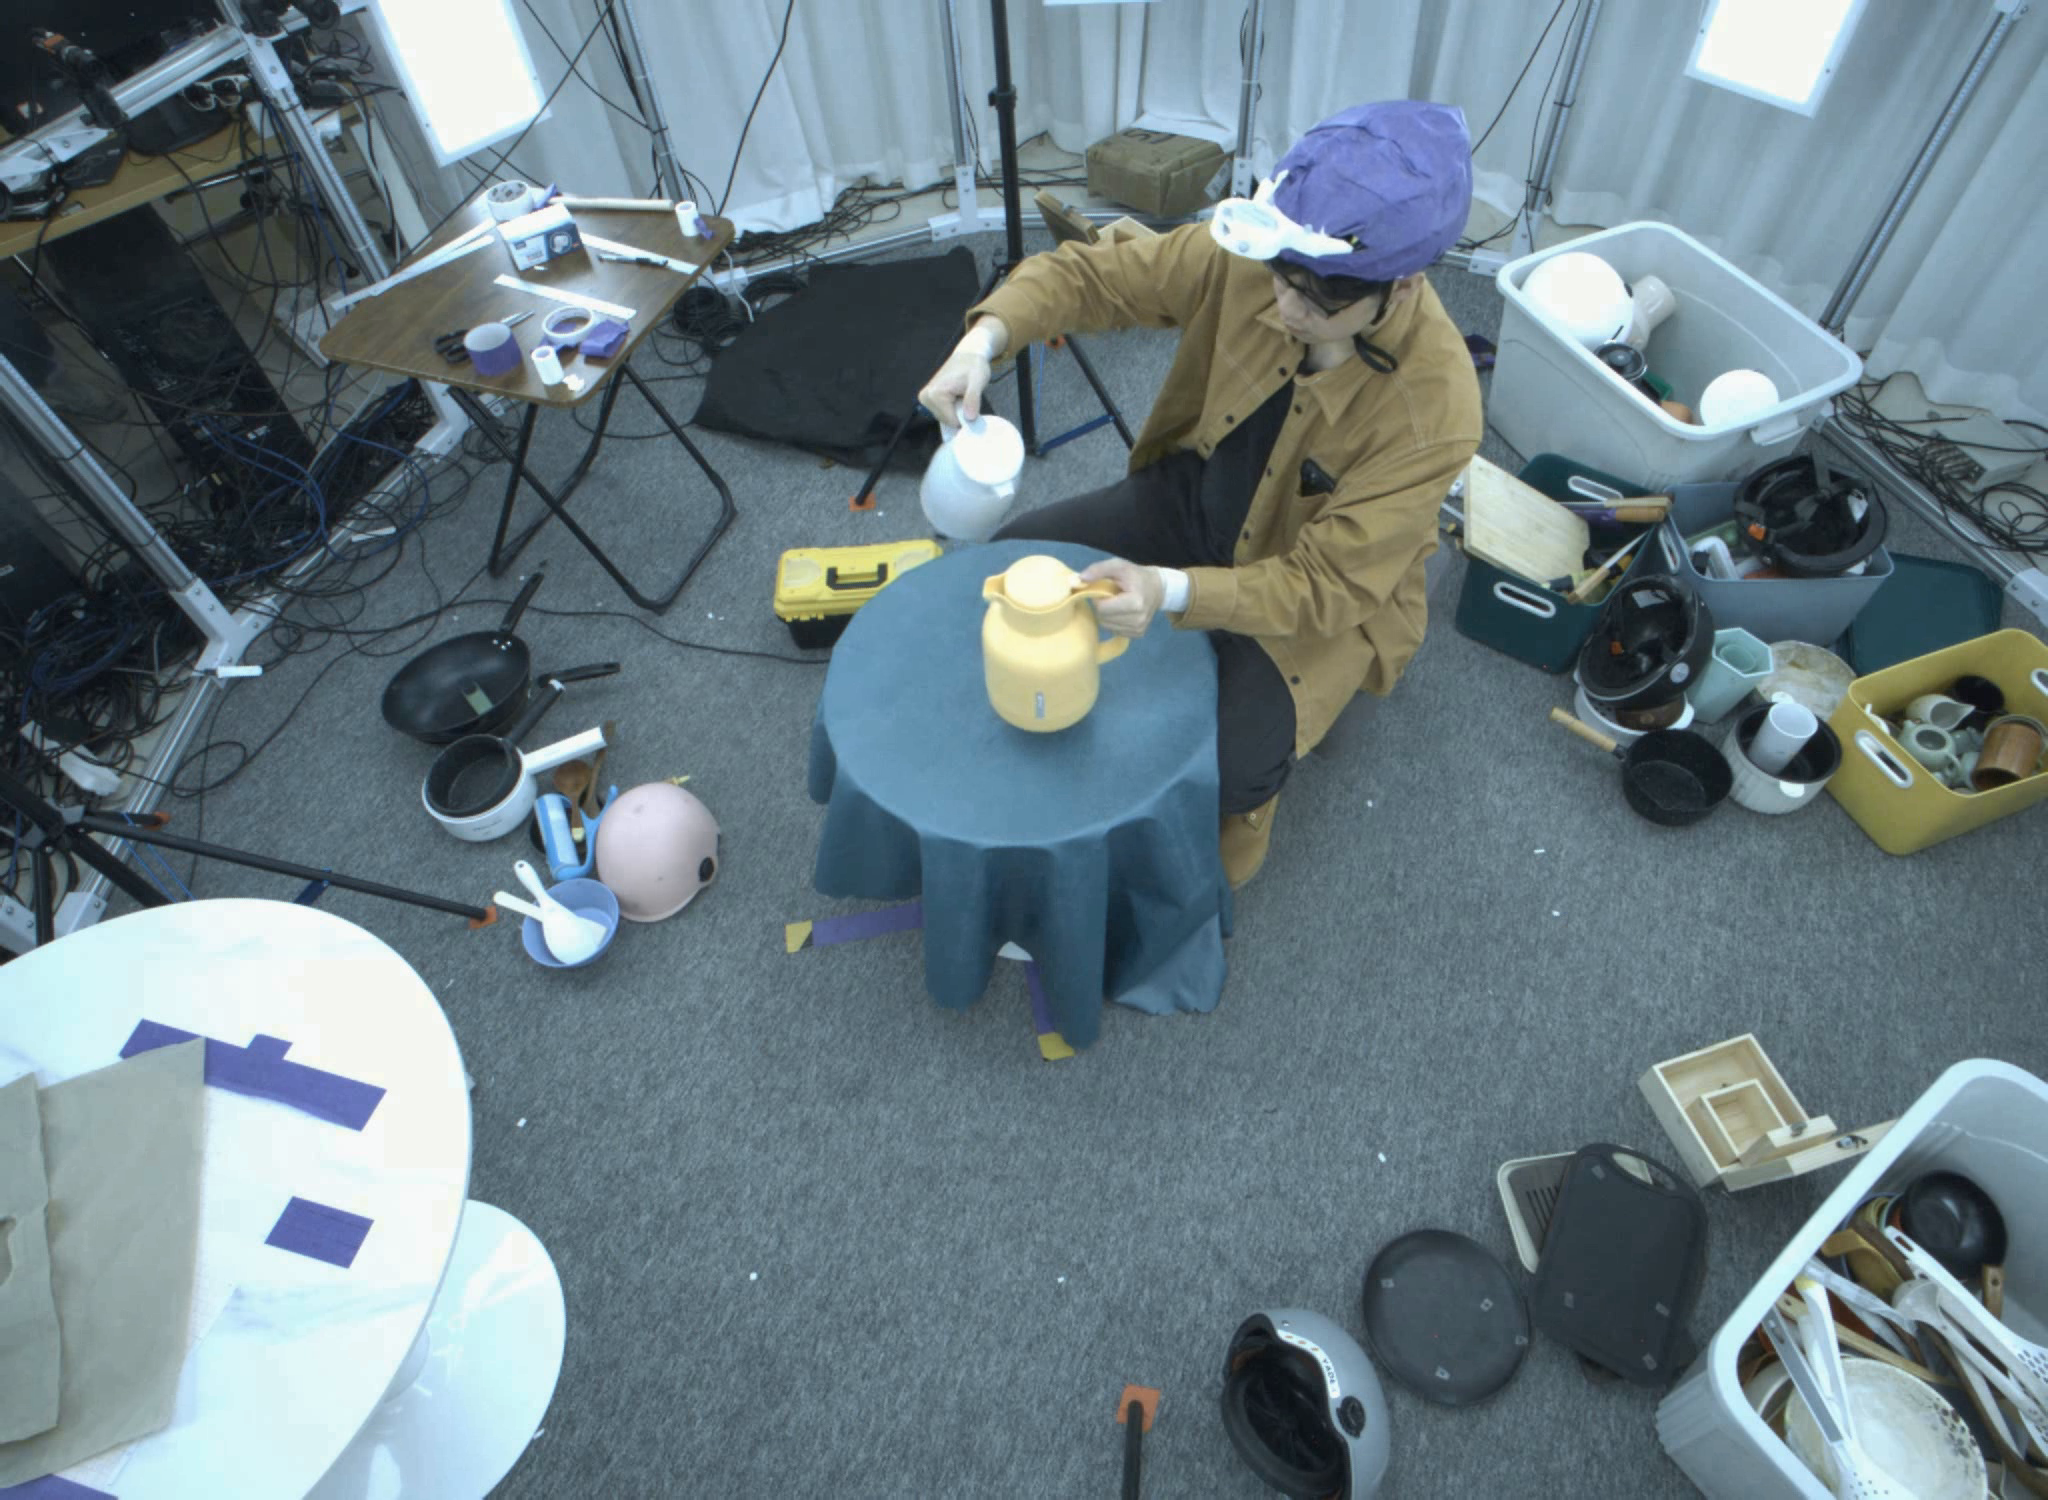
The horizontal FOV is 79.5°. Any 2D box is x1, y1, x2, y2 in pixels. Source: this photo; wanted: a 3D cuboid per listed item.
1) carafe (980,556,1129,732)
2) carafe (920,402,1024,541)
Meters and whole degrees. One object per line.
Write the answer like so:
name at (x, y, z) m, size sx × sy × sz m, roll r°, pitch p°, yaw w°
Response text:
carafe at (0.041, -0.150, 1.682) m, size 0.202 × 0.263 × 0.162 m, roll -1°, pitch 58°, yaw 3°
carafe at (-0.077, -0.396, 1.680) m, size 0.133 × 0.247 × 0.168 m, roll -26°, pitch 92°, yaw -11°
